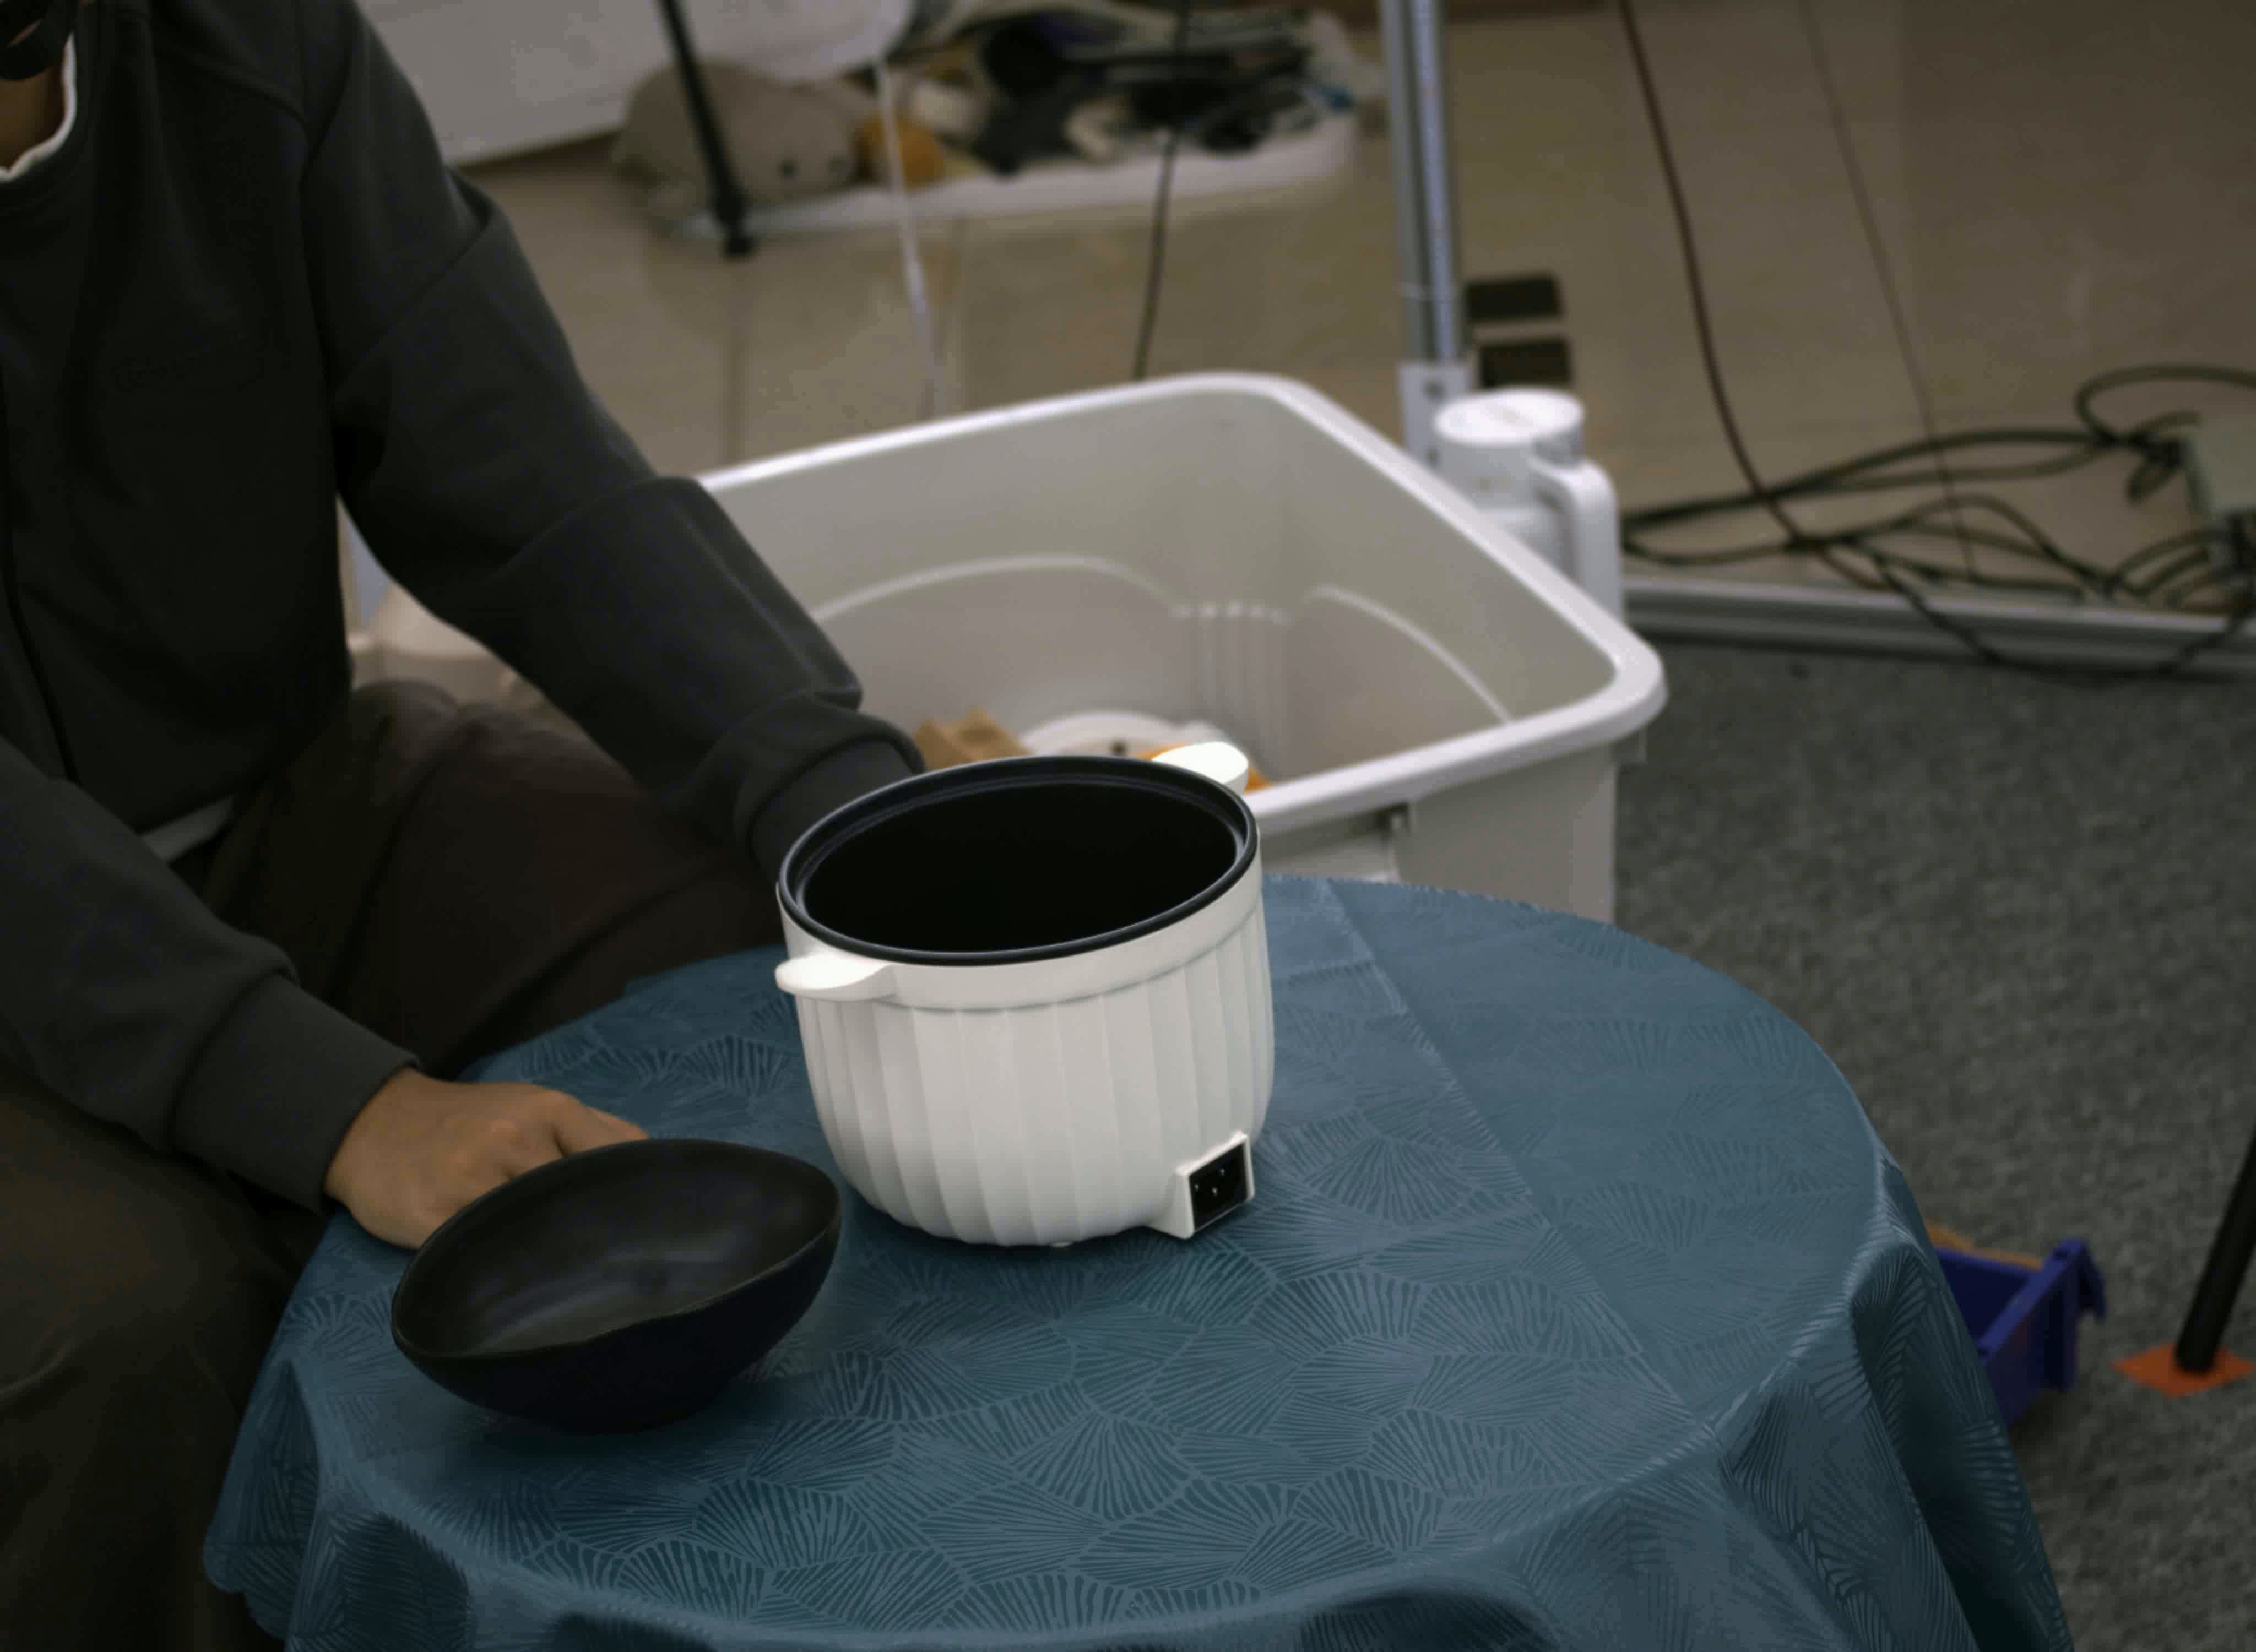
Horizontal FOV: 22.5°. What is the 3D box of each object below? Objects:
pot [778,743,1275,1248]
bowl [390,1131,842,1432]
[{"bbox_3d":[-0.039,0.069,2.142,0.189,0.145,0.238,19,34,38],"label":"pot"},{"bbox_3d":[-0.179,0.173,2.039,0.169,0.068,0.136,-20,28,-24],"label":"bowl"}]
